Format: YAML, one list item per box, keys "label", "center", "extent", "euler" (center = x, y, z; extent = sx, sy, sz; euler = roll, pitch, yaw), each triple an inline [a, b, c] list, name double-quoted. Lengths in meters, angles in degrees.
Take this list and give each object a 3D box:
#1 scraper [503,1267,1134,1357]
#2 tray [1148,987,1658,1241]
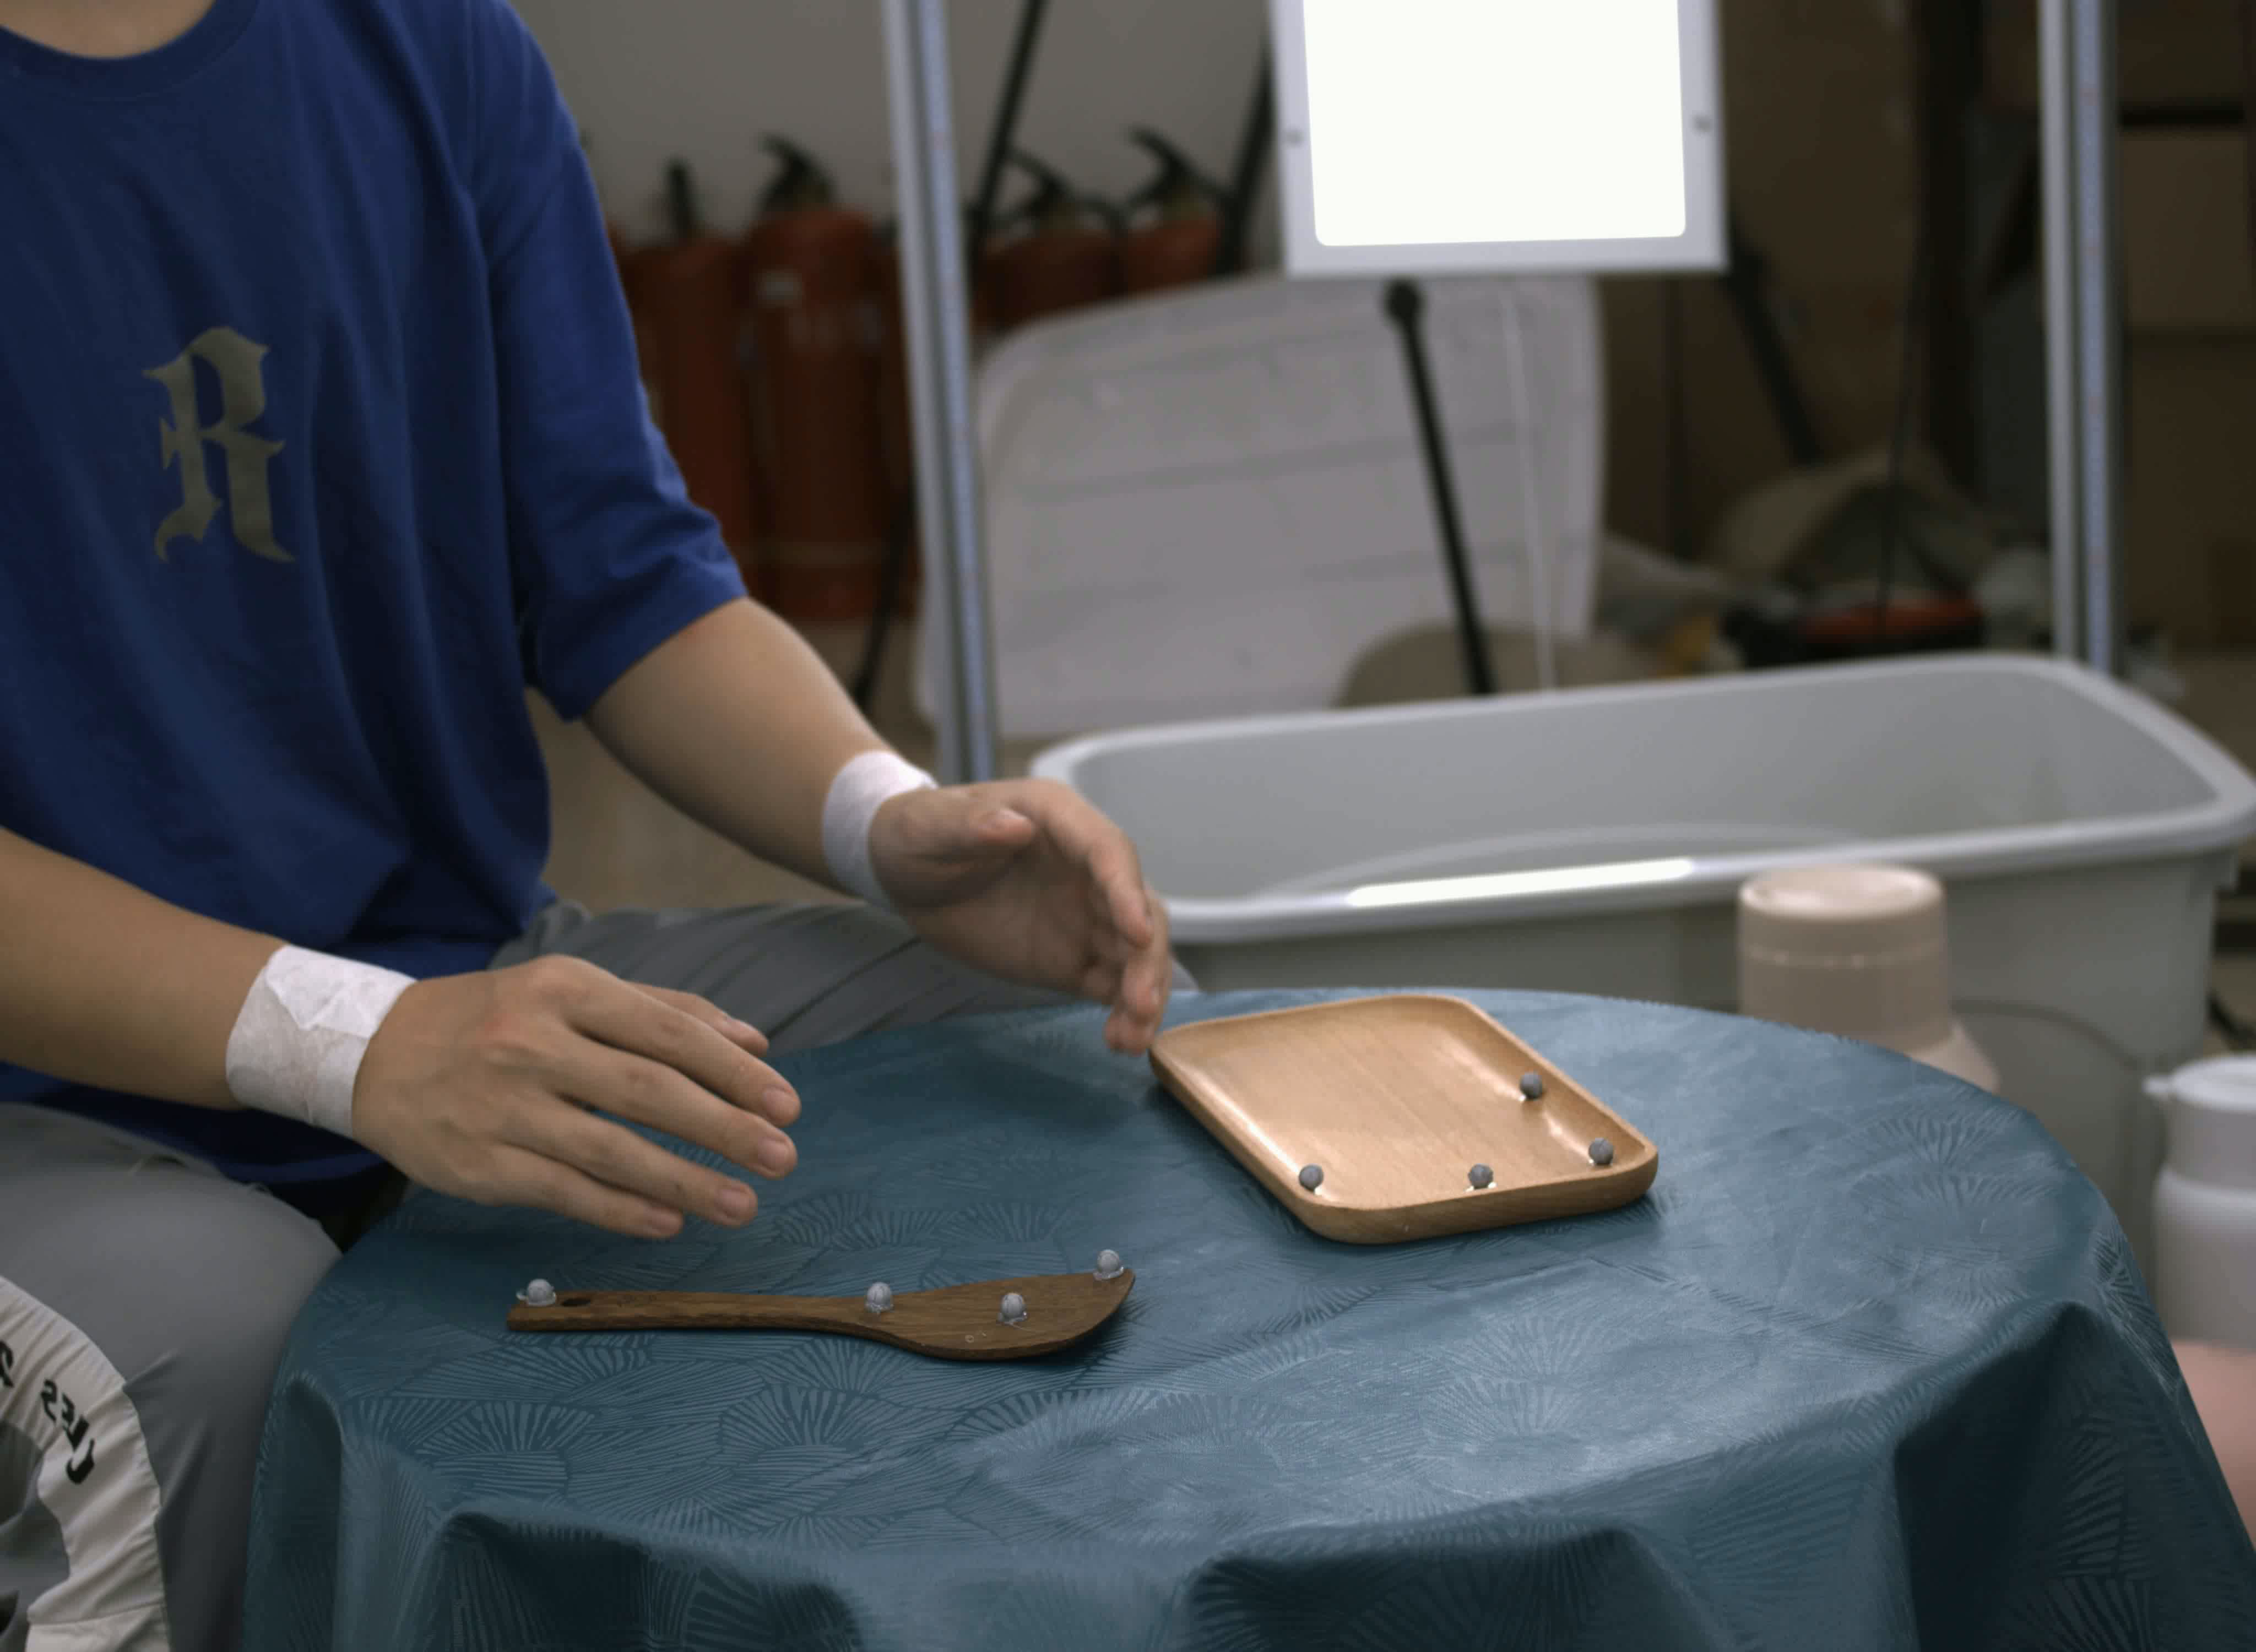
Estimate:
- label: "scraper"
  center: [-0.103, 0.157, 1.789]
  extent: [0.214, 0.011, 0.074]
  euler: [-1, 13, 19]
- label: "tray"
  center: [0.093, 0.099, 1.937]
  extent: [0.129, 0.023, 0.252]
  euler: [-5, 13, -12]
